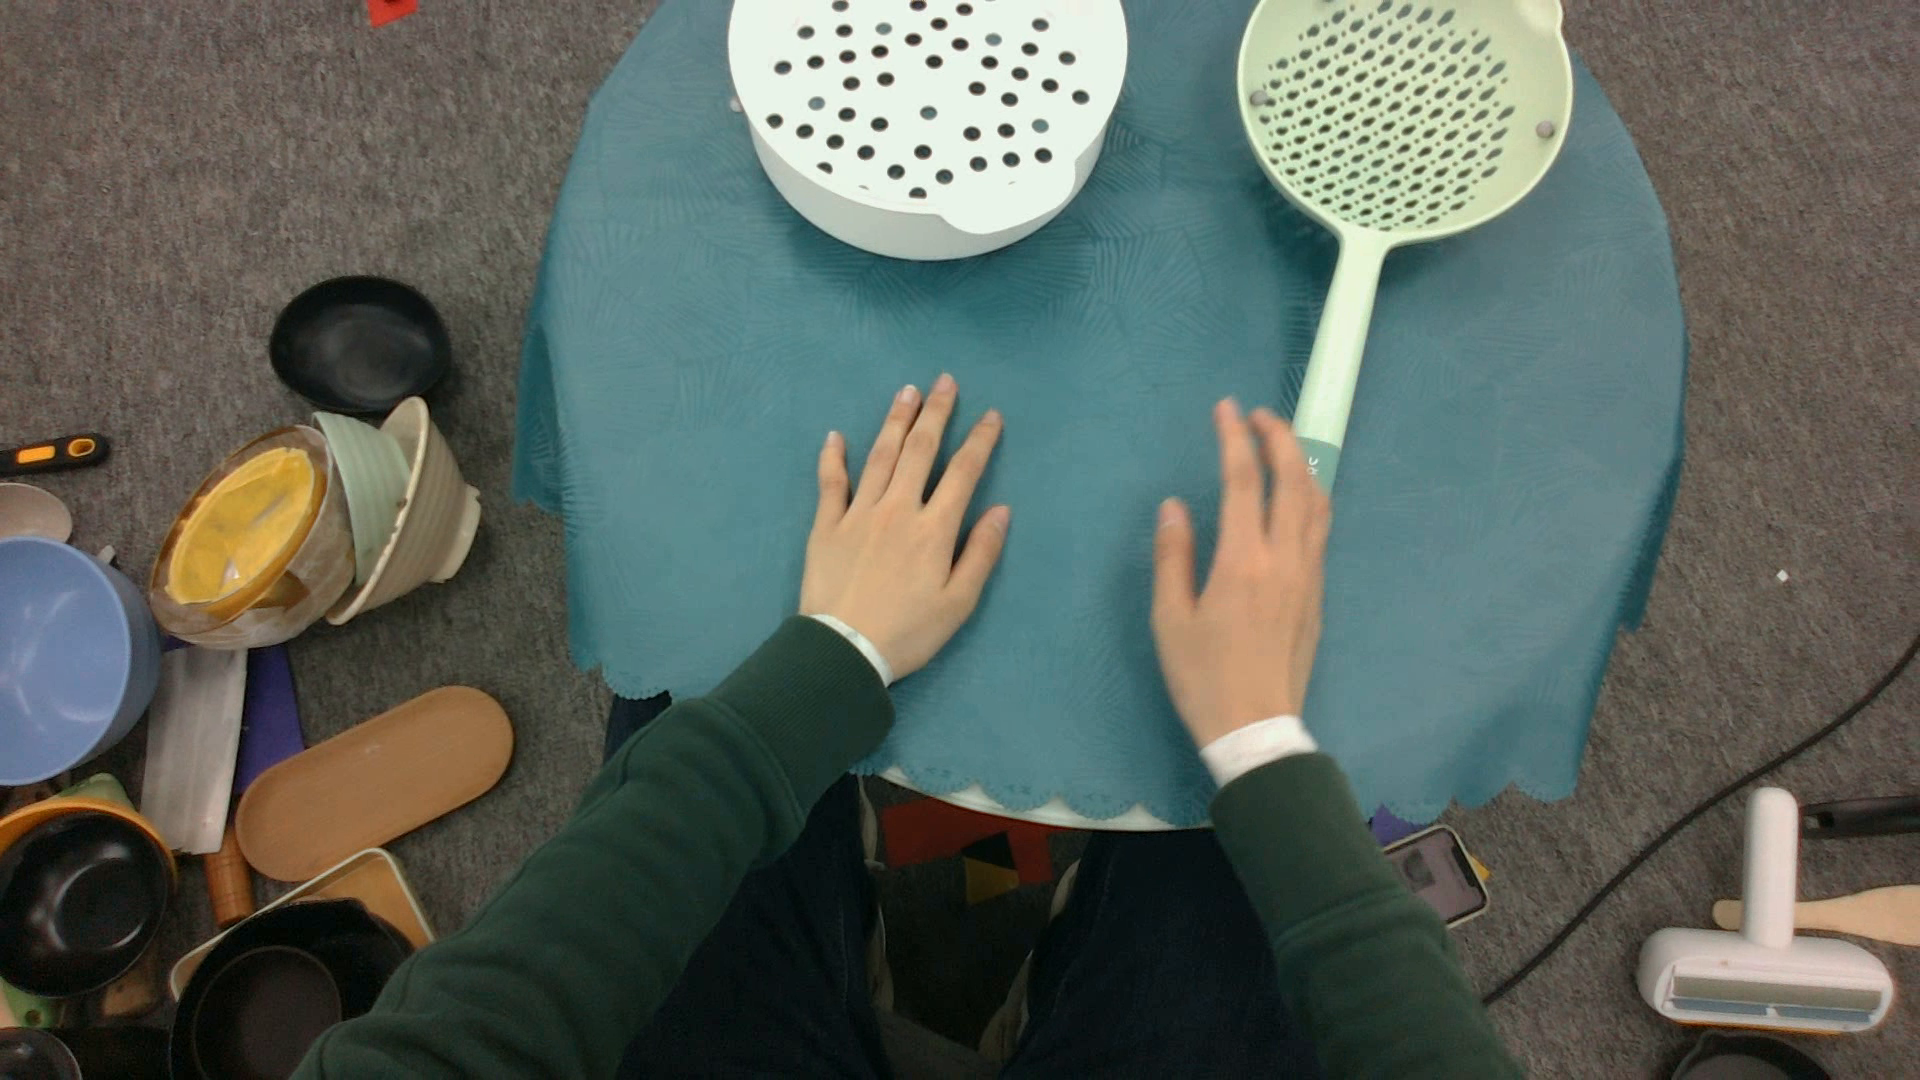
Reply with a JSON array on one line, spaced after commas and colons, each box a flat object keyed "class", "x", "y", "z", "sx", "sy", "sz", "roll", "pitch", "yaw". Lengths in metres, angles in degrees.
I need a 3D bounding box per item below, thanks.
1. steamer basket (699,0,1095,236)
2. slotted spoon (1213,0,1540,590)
[{"class": "steamer basket", "x": -0.032, "y": -0.257, "z": 0.727, "sx": 0.202, "sy": 0.069, "sz": 0.231, "roll": -24, "pitch": 73, "yaw": -10}, {"class": "slotted spoon", "x": 0.189, "y": -0.150, "z": 0.699, "sx": 0.169, "sy": 0.075, "sz": 0.360, "roll": 15, "pitch": 70, "yaw": 3}]
